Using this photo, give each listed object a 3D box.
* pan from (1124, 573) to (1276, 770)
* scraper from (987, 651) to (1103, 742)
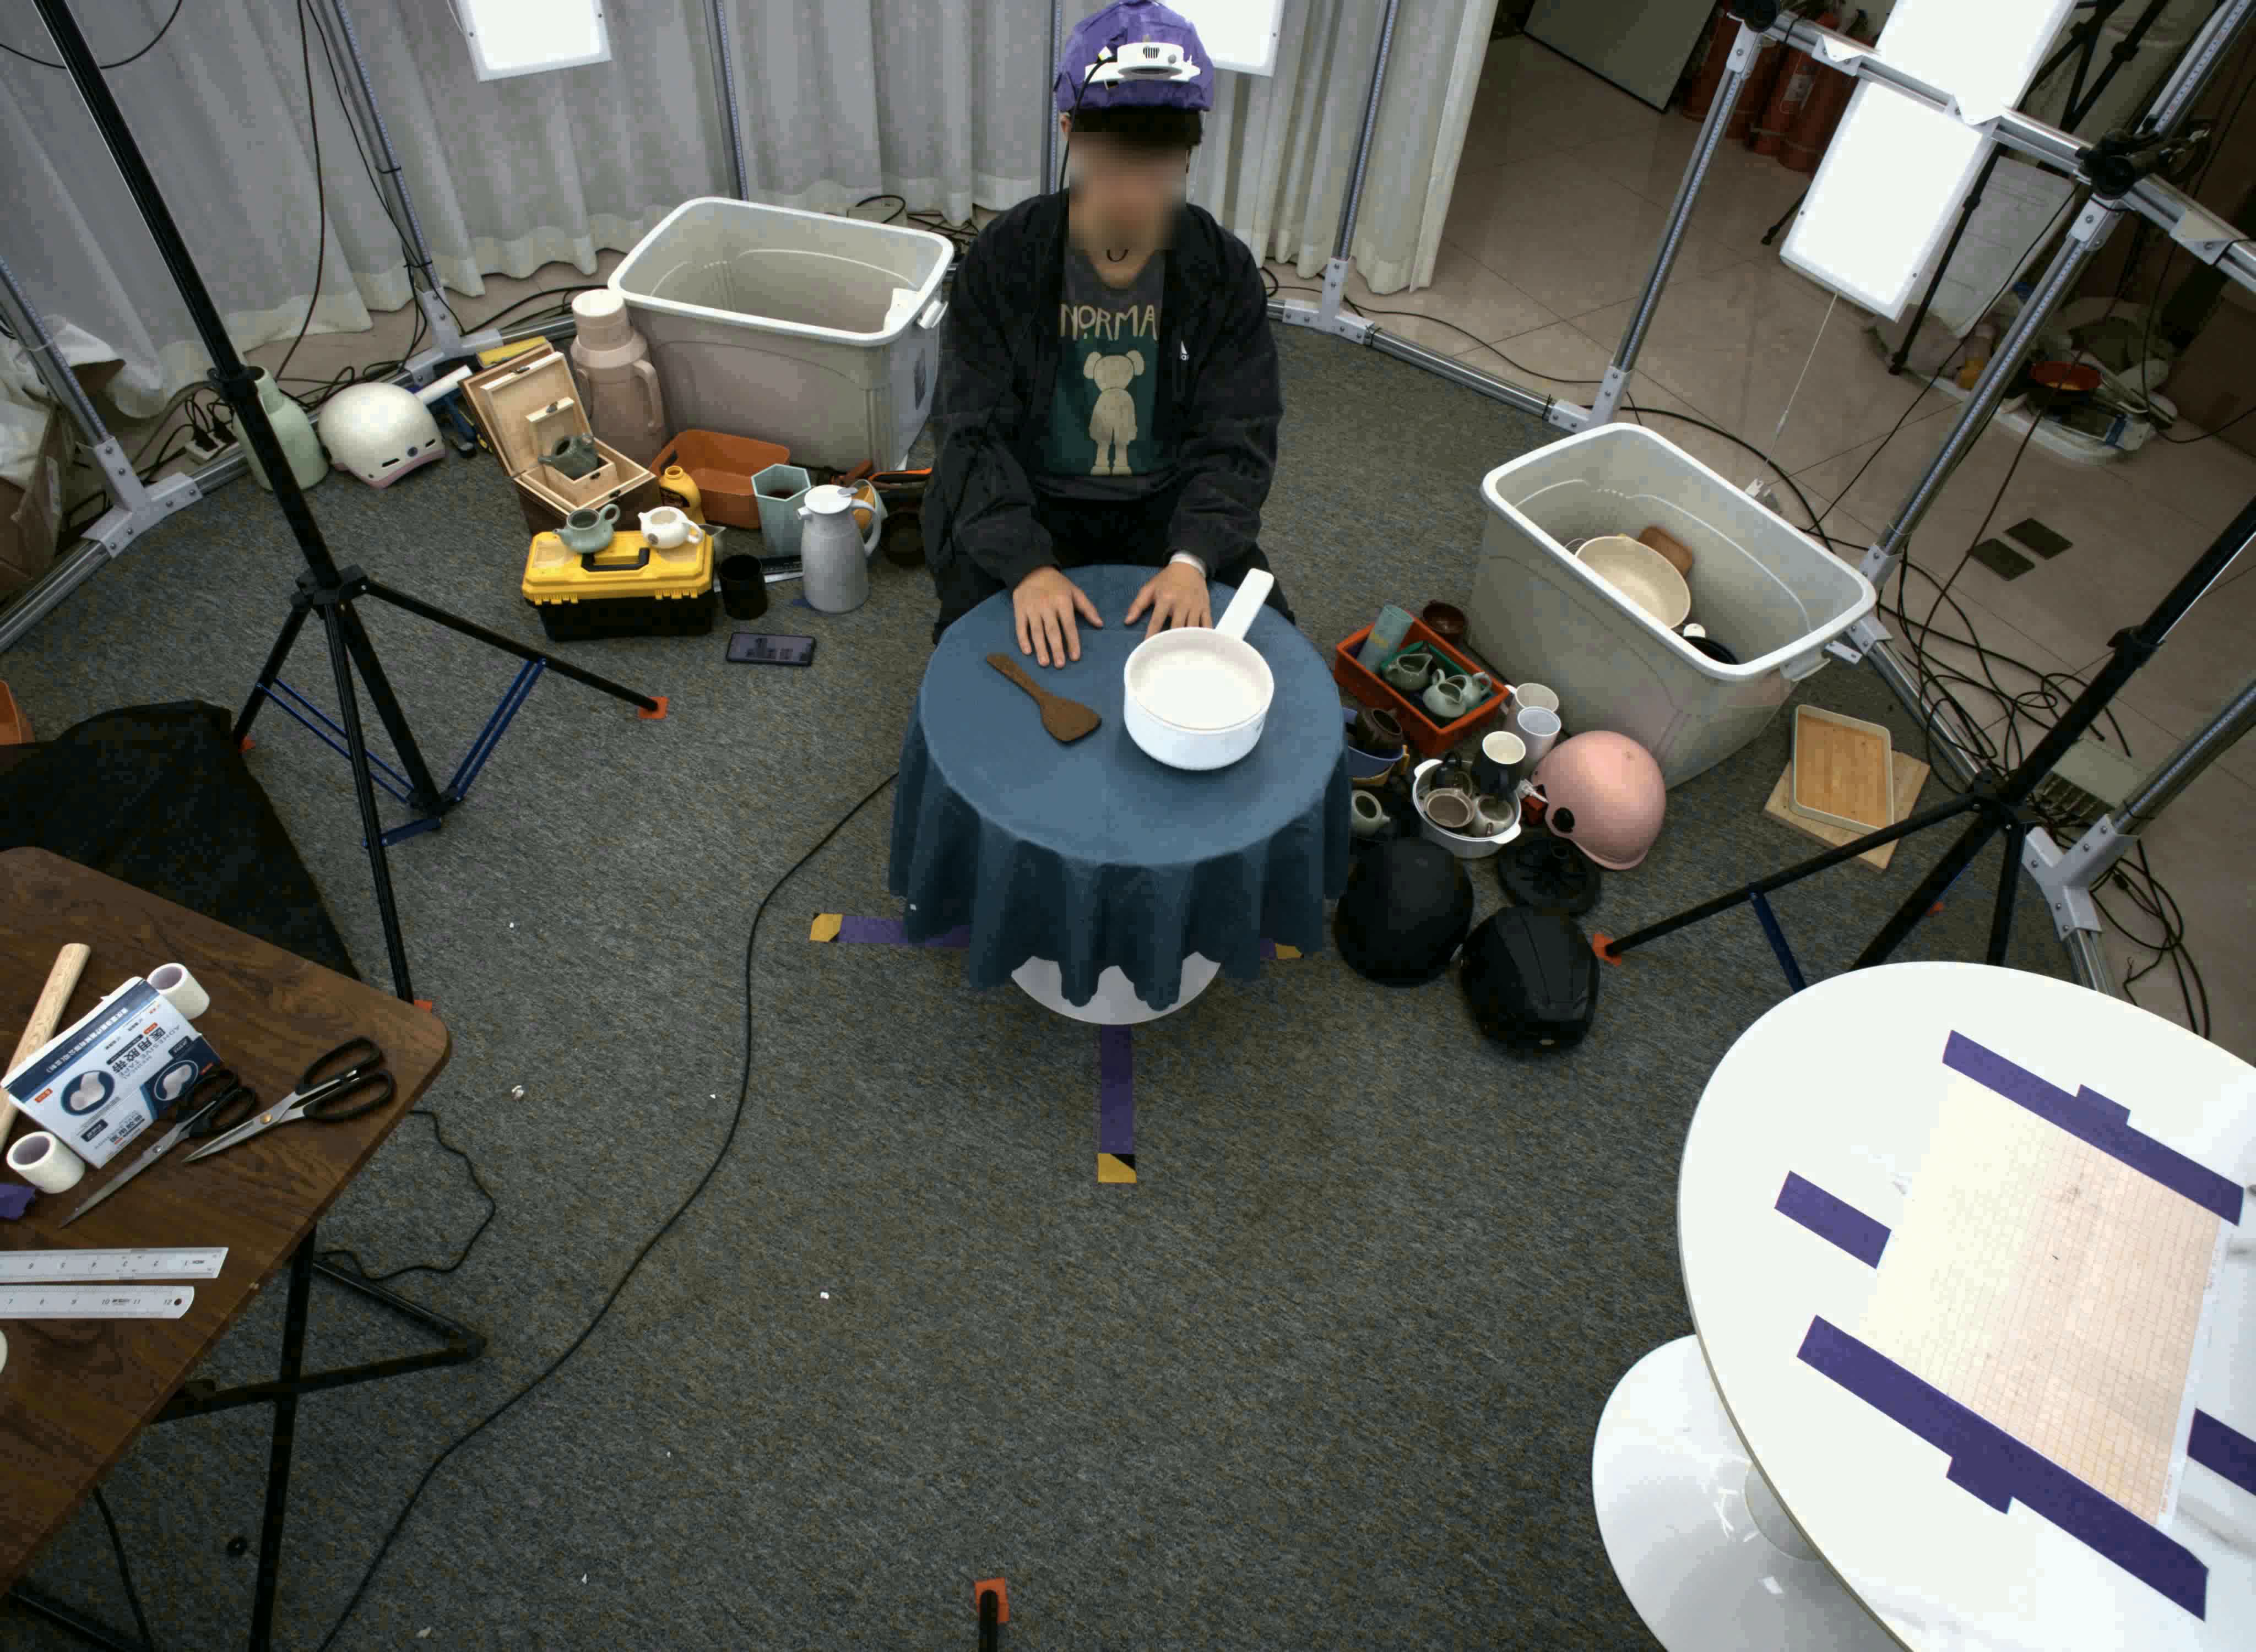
[{"bbox_3d":[0.124,-0.220,1.805,0.202,0.099,0.361,19,48,14],"label":"pan"},{"bbox_3d":[-0.126,-0.188,1.817,0.076,0.010,0.215,-31,56,-28],"label":"scraper"}]
